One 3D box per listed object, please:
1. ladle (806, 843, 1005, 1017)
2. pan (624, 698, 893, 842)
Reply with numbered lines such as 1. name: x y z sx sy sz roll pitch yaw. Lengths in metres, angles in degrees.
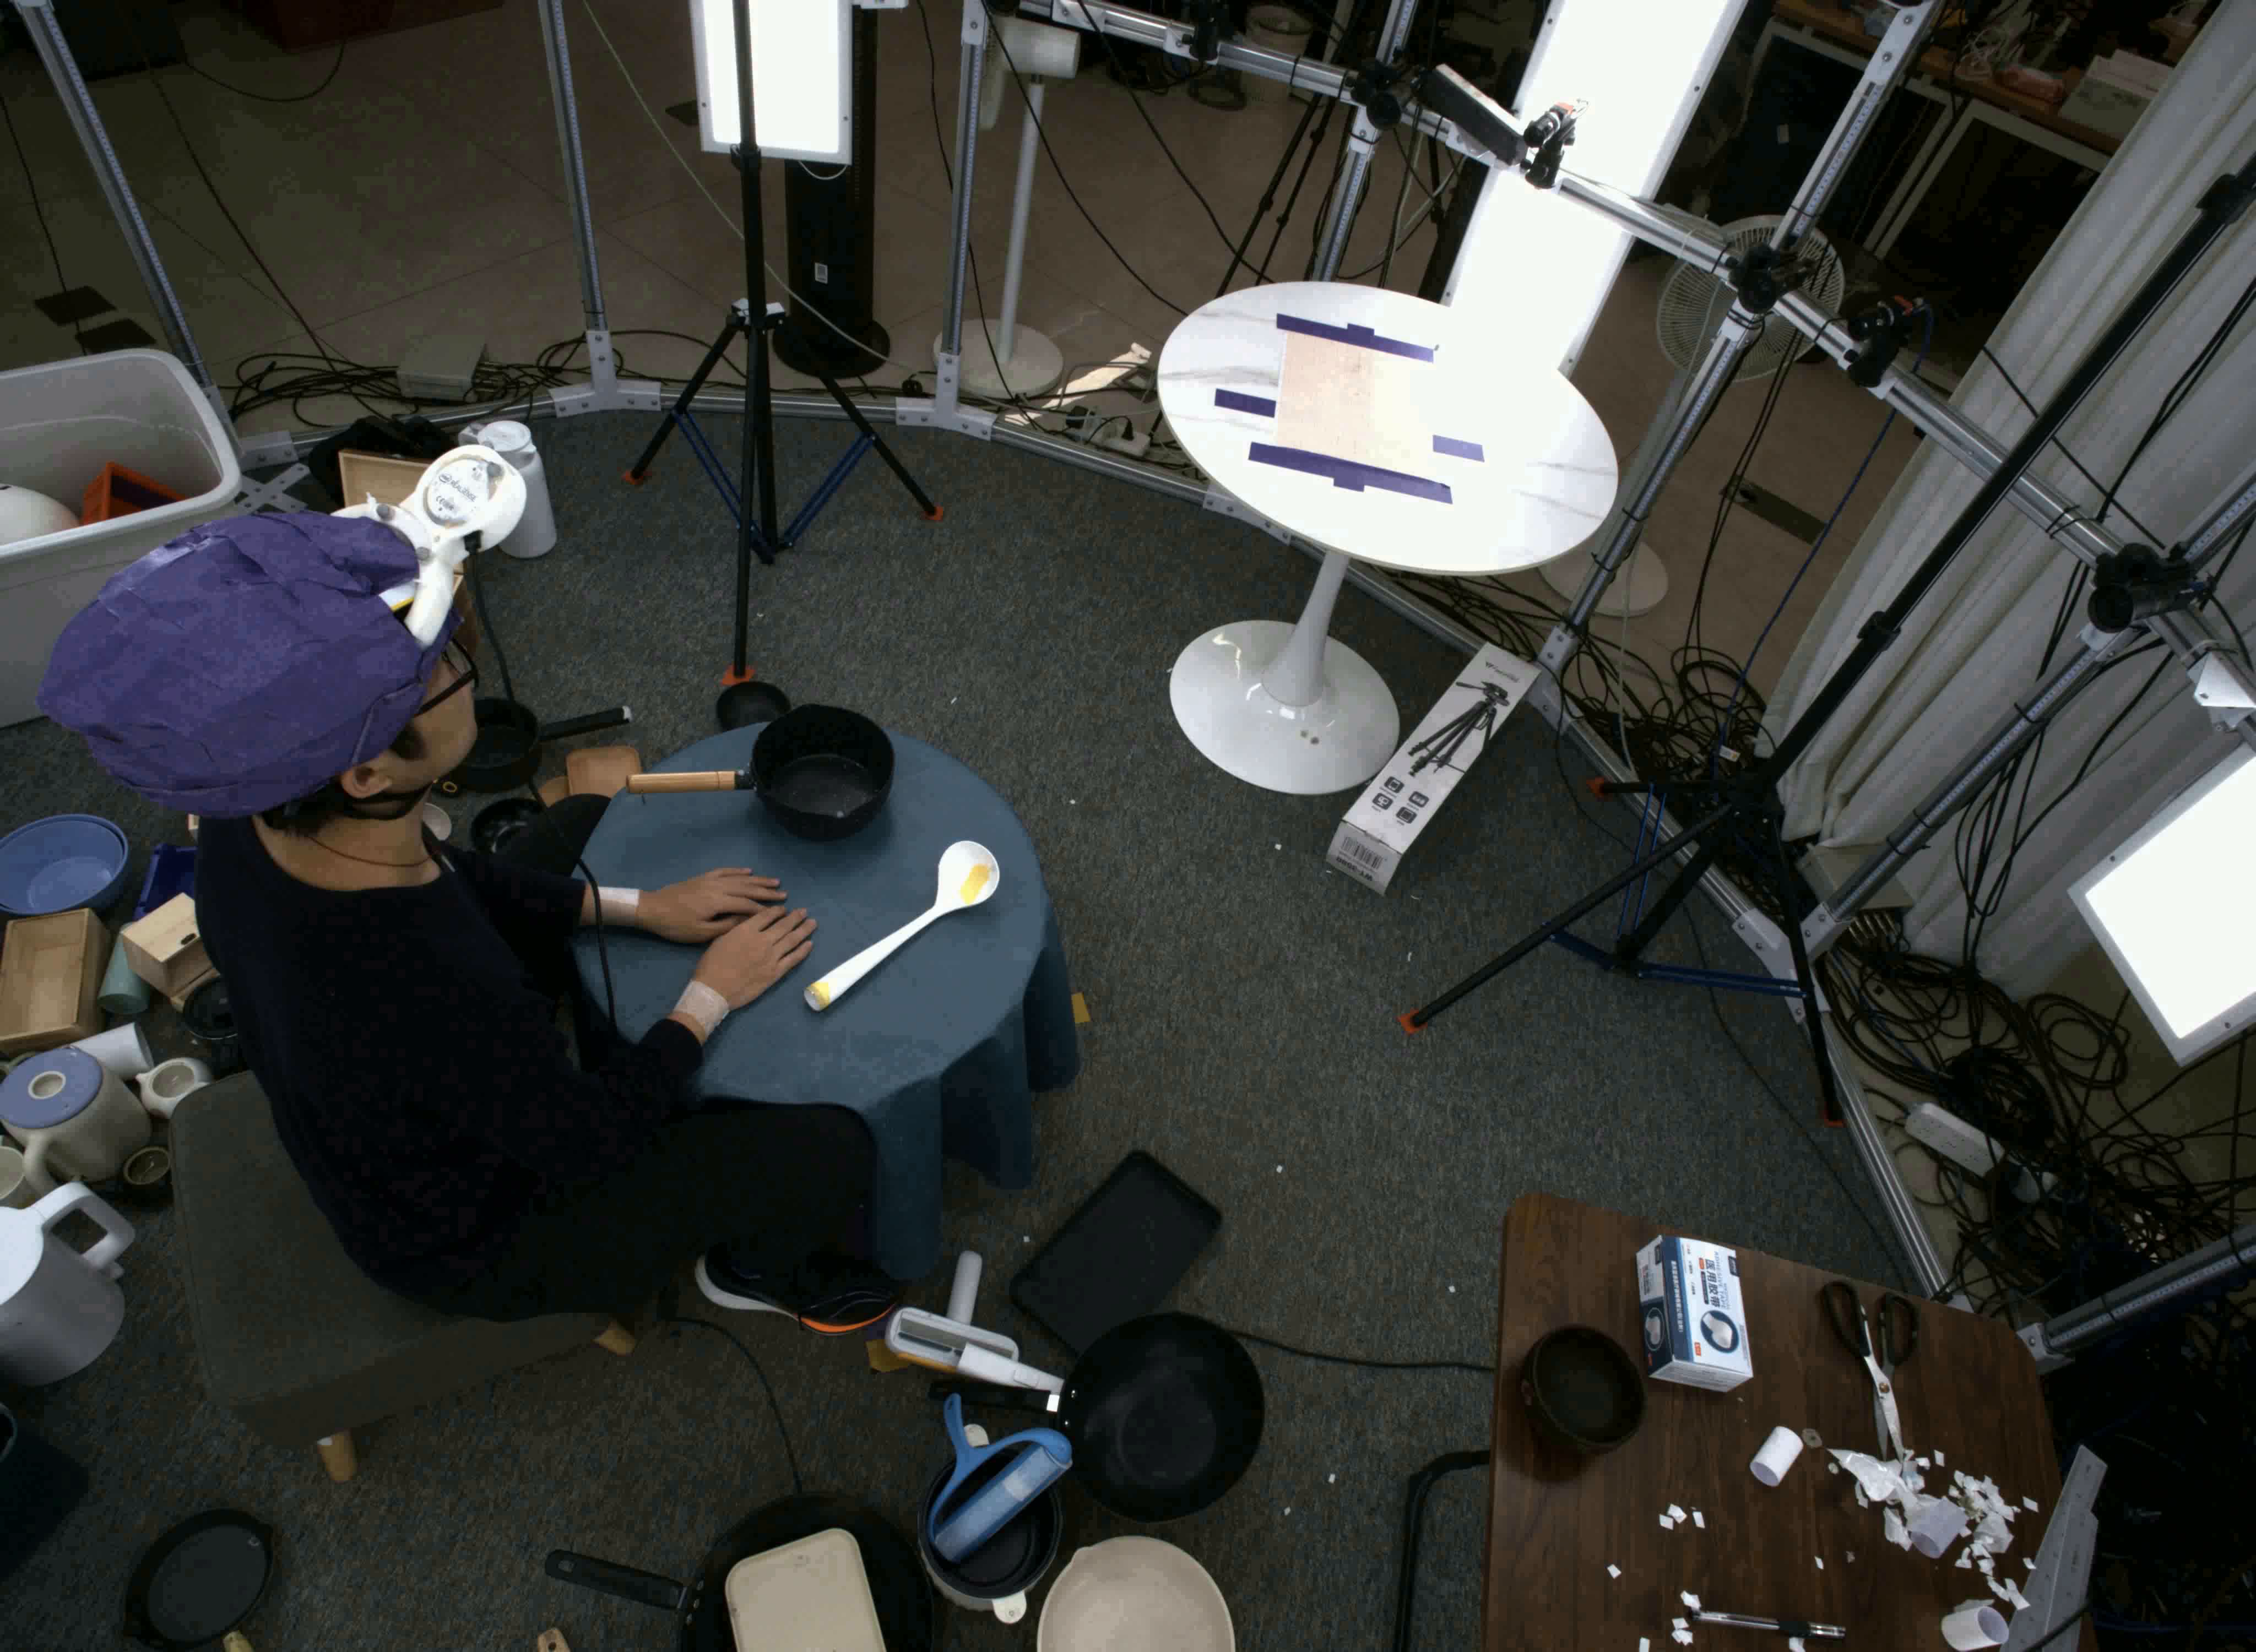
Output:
1. ladle: -0.277 0.128 1.615 0.088 0.071 0.293 43 56 14
2. pan: -0.474 -0.056 1.673 0.345 0.110 0.202 -12 58 -24
